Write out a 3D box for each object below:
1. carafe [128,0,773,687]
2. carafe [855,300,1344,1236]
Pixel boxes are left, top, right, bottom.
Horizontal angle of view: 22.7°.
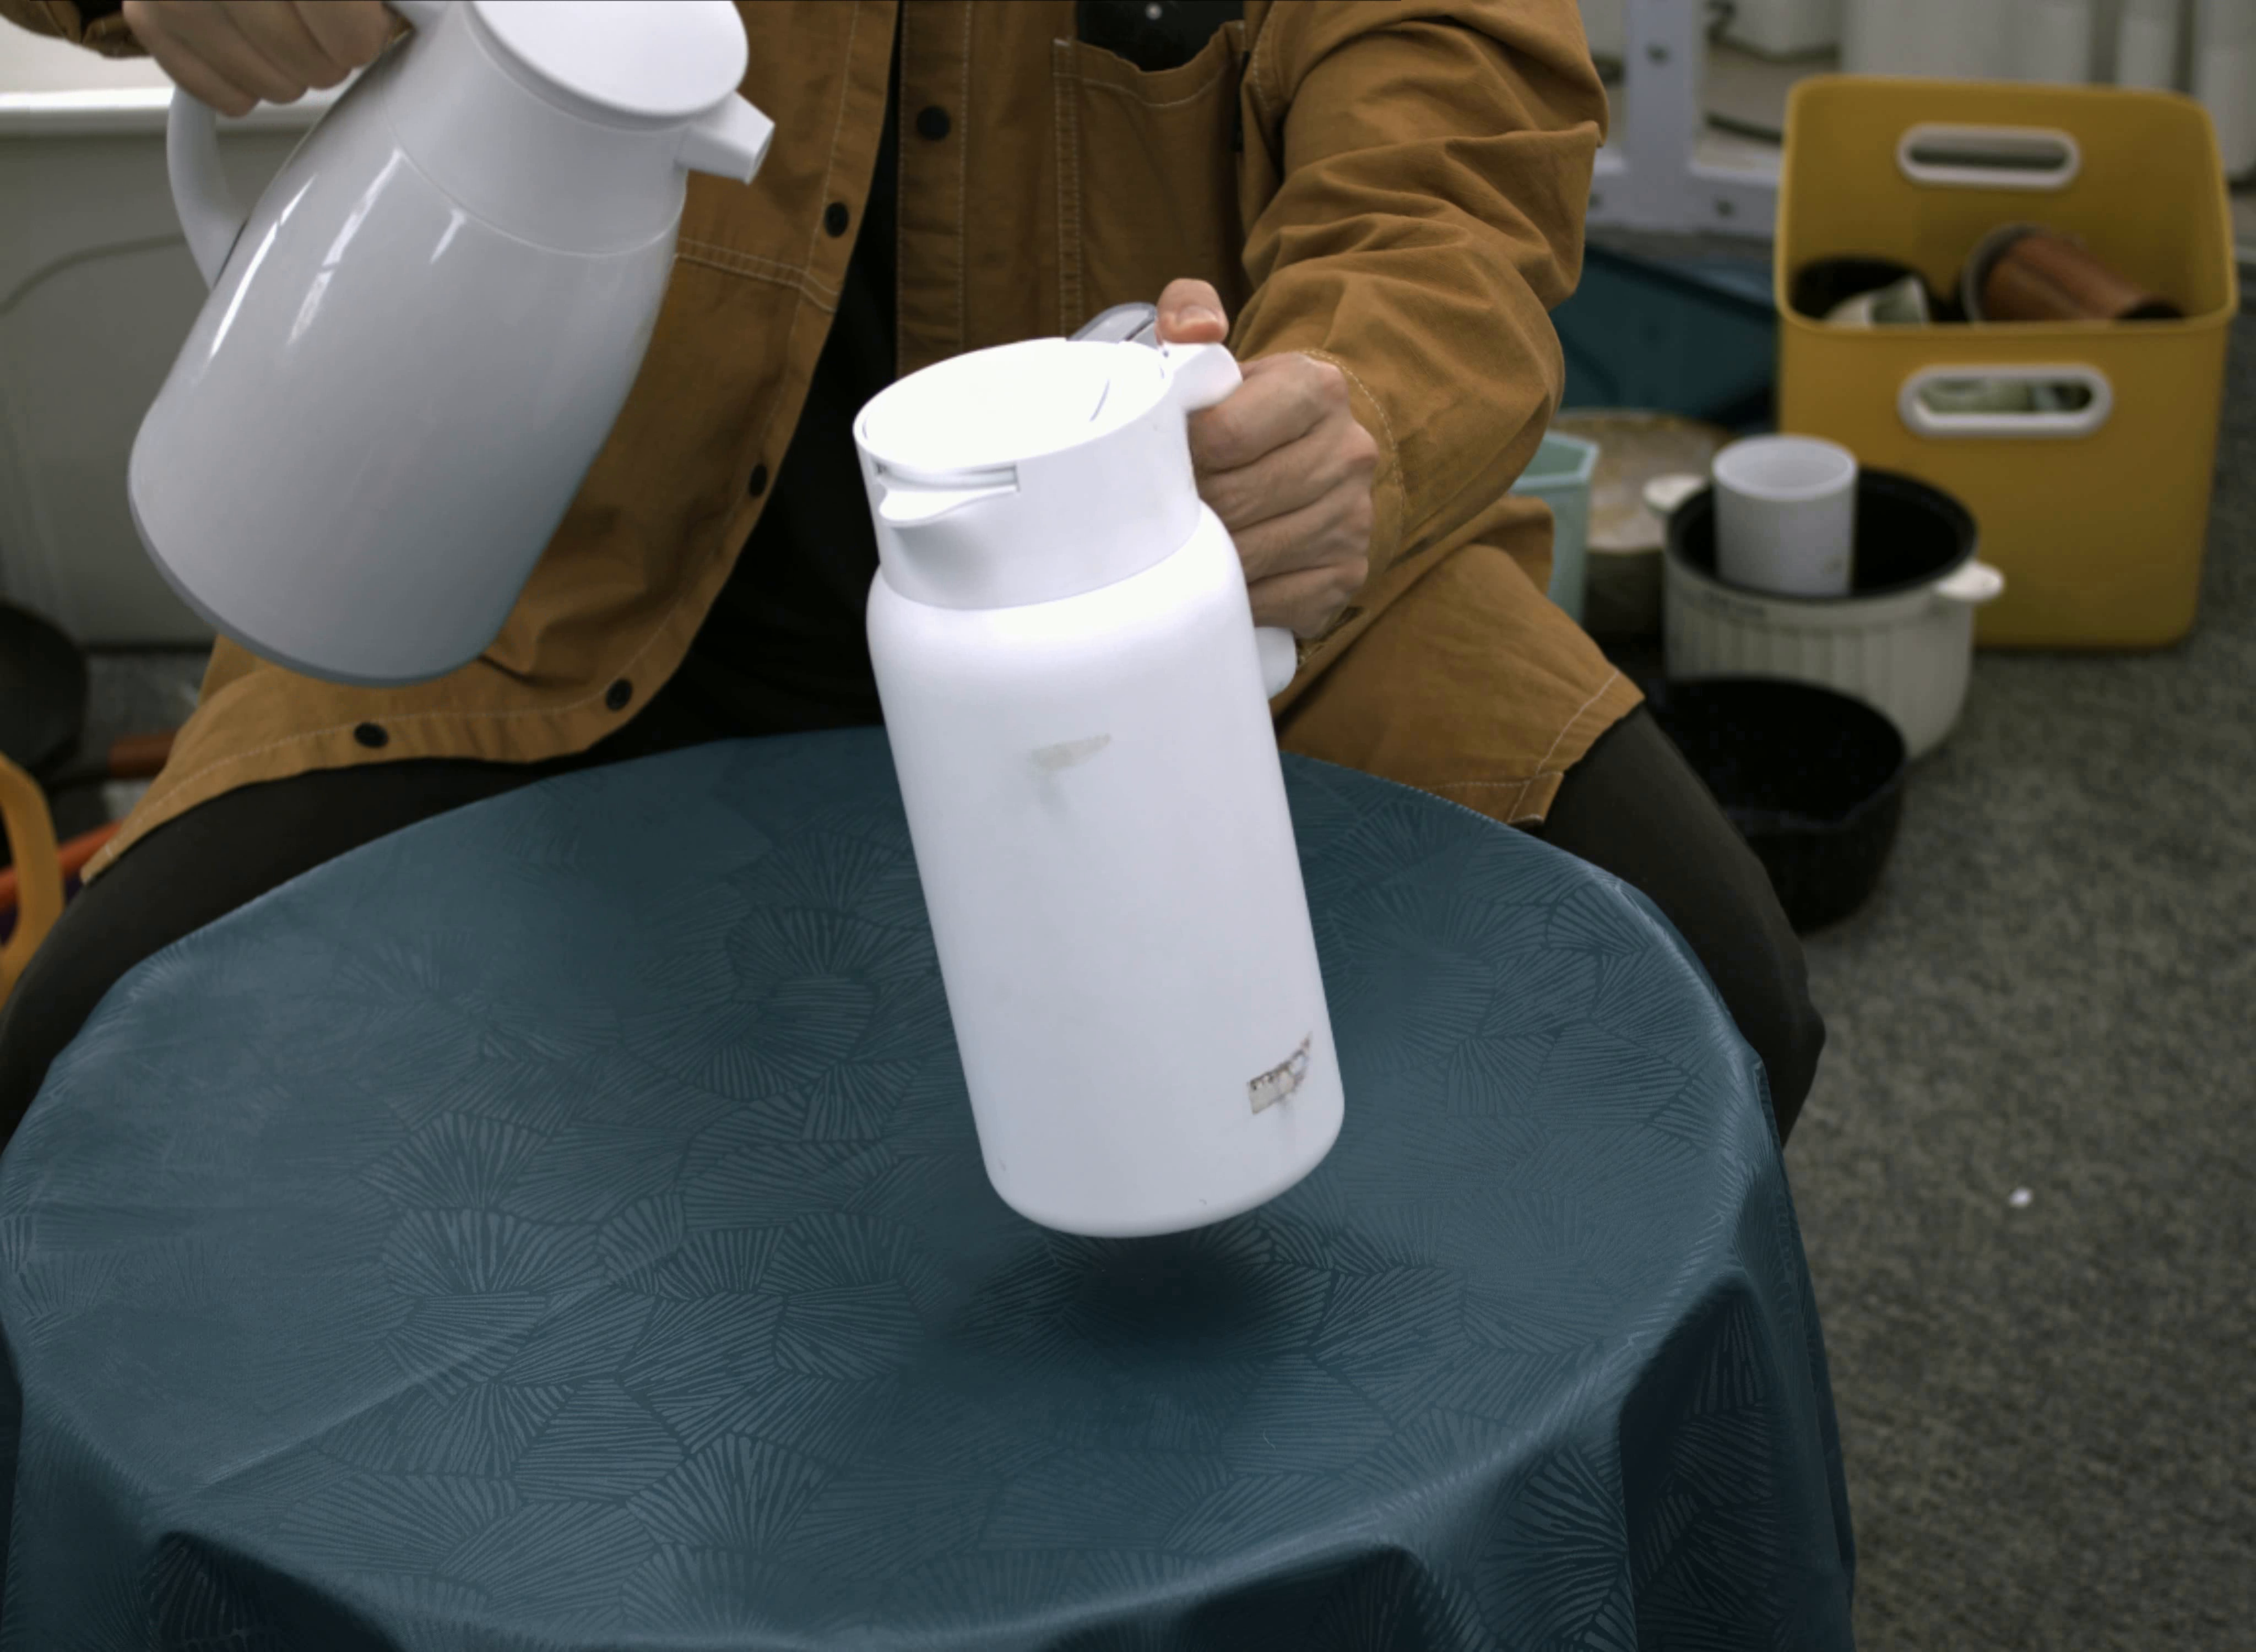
[{"bbox_3d":[-0.222,-0.181,1.736,0.167,0.244,0.135,29,38,-6],"label":"carafe"},{"bbox_3d":[-0.003,-0.022,1.754,0.123,0.267,0.175,2,26,33],"label":"carafe"}]
